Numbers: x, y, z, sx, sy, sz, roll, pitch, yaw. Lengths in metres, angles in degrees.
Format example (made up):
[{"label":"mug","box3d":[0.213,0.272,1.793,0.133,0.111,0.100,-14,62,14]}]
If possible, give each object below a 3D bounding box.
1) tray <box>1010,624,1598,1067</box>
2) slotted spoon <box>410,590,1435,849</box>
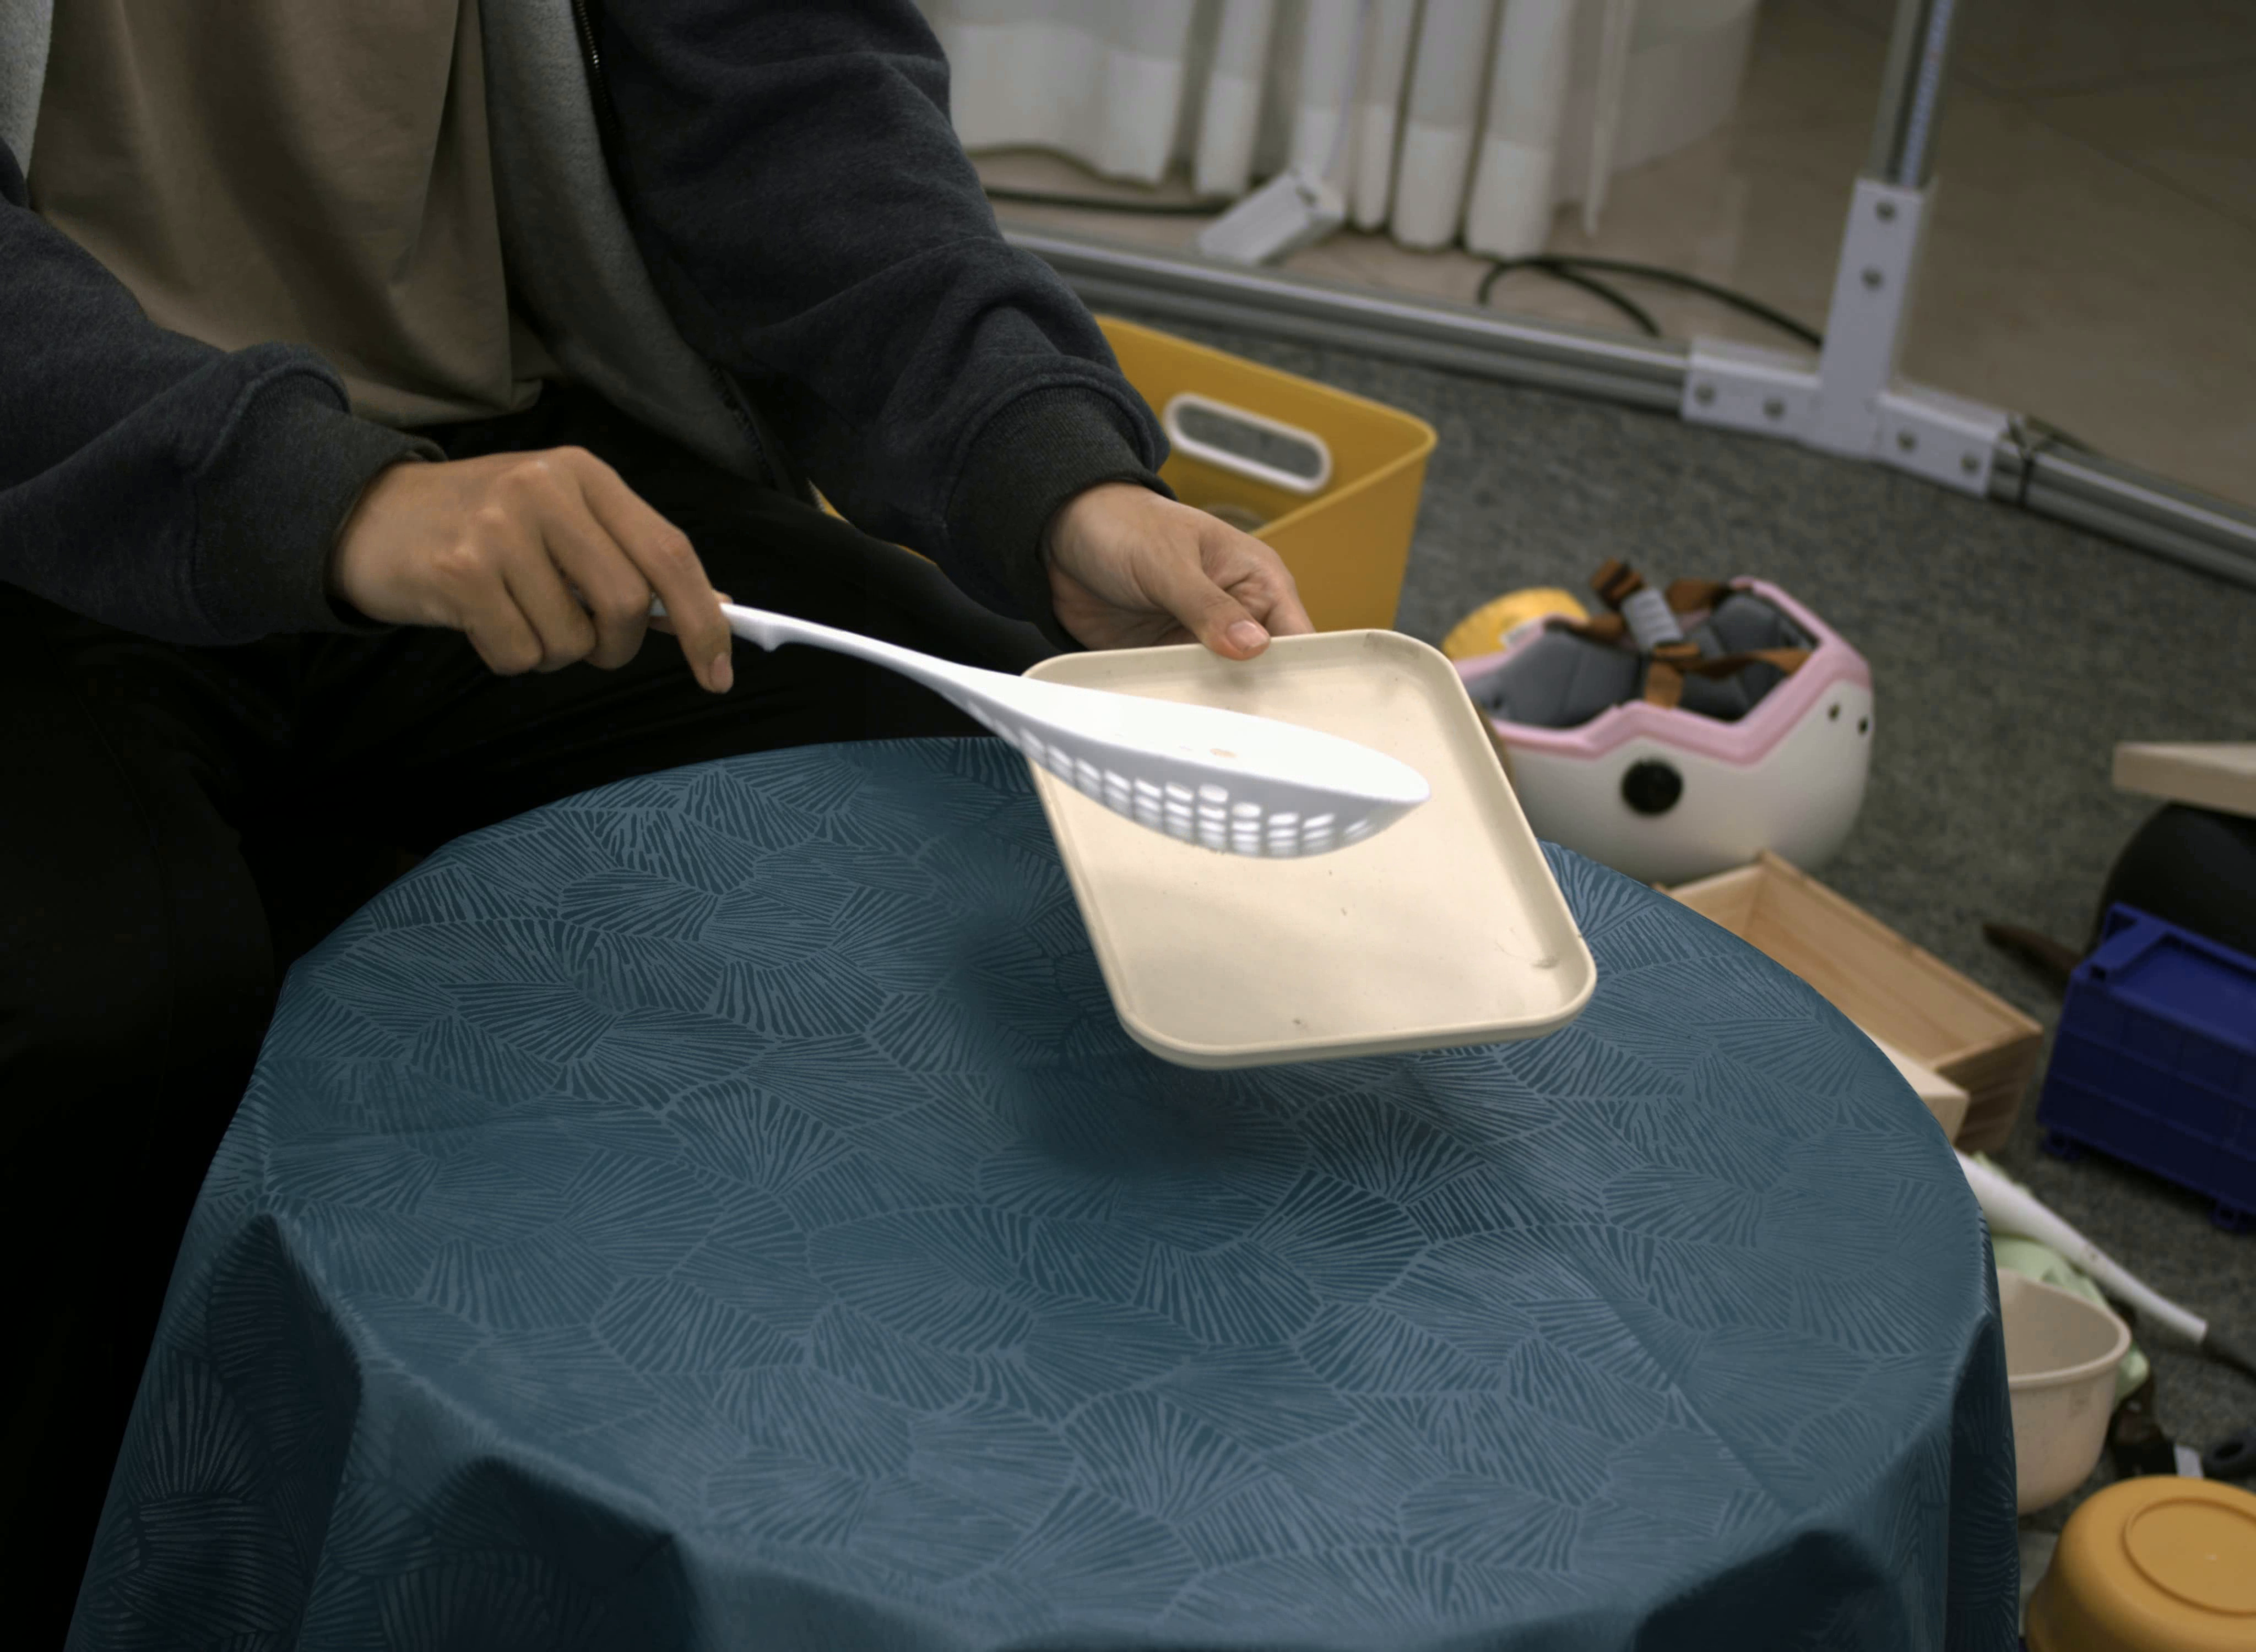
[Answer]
[{"label":"tray","box3d":[0.059,0.005,1.889,0.170,0.017,0.242,-6,37,-11]},{"label":"slotted spoon","box3d":[-0.069,-0.047,1.785,0.347,0.050,0.137,17,7,5]}]
